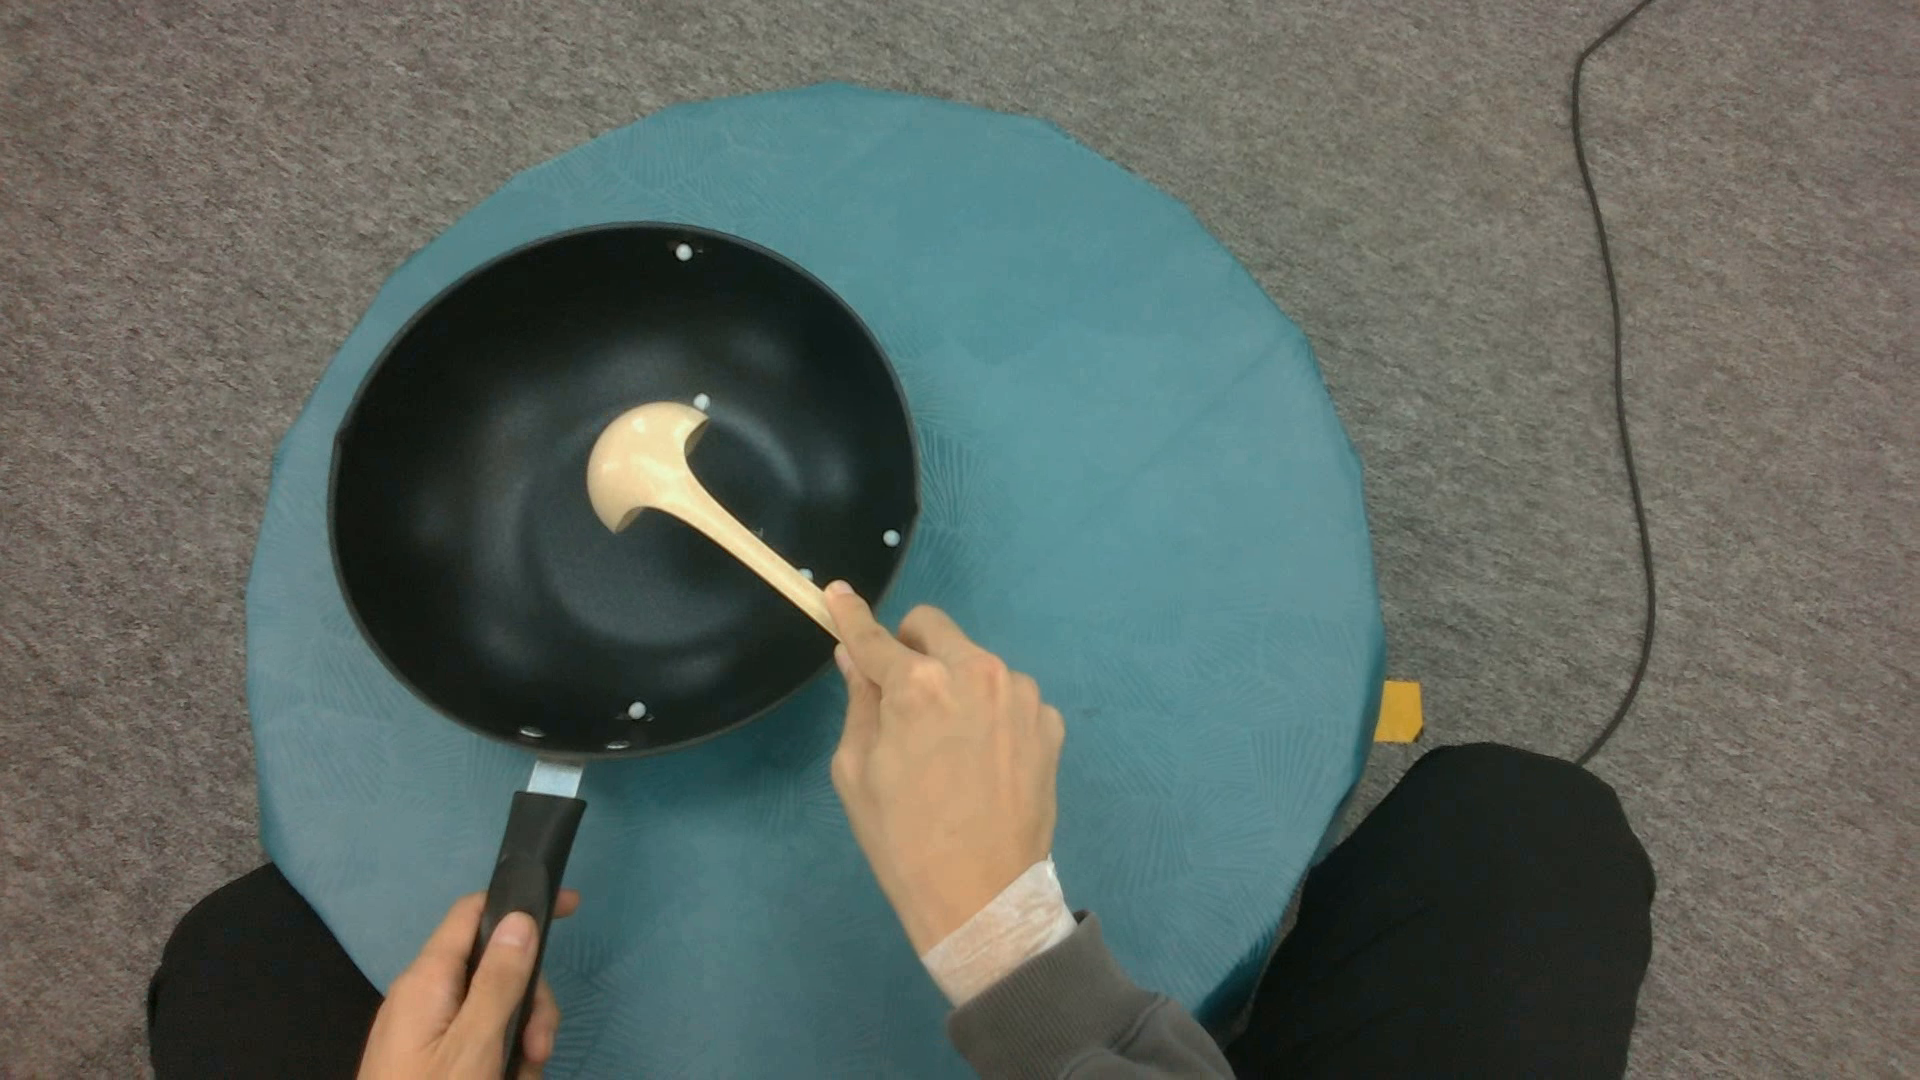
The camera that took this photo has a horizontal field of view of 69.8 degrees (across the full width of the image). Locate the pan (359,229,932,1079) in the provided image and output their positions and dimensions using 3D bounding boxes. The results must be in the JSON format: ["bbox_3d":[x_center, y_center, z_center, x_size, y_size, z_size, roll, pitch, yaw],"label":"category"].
[{"bbox_3d":[-0.170,0.067,0.688,0.288,0.086,0.464,8,72,3],"label":"pan"}]

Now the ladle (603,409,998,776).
[{"bbox_3d":[-0.071,0.029,0.650,0.254,0.072,0.072,40,84,20],"label":"ladle"}]
